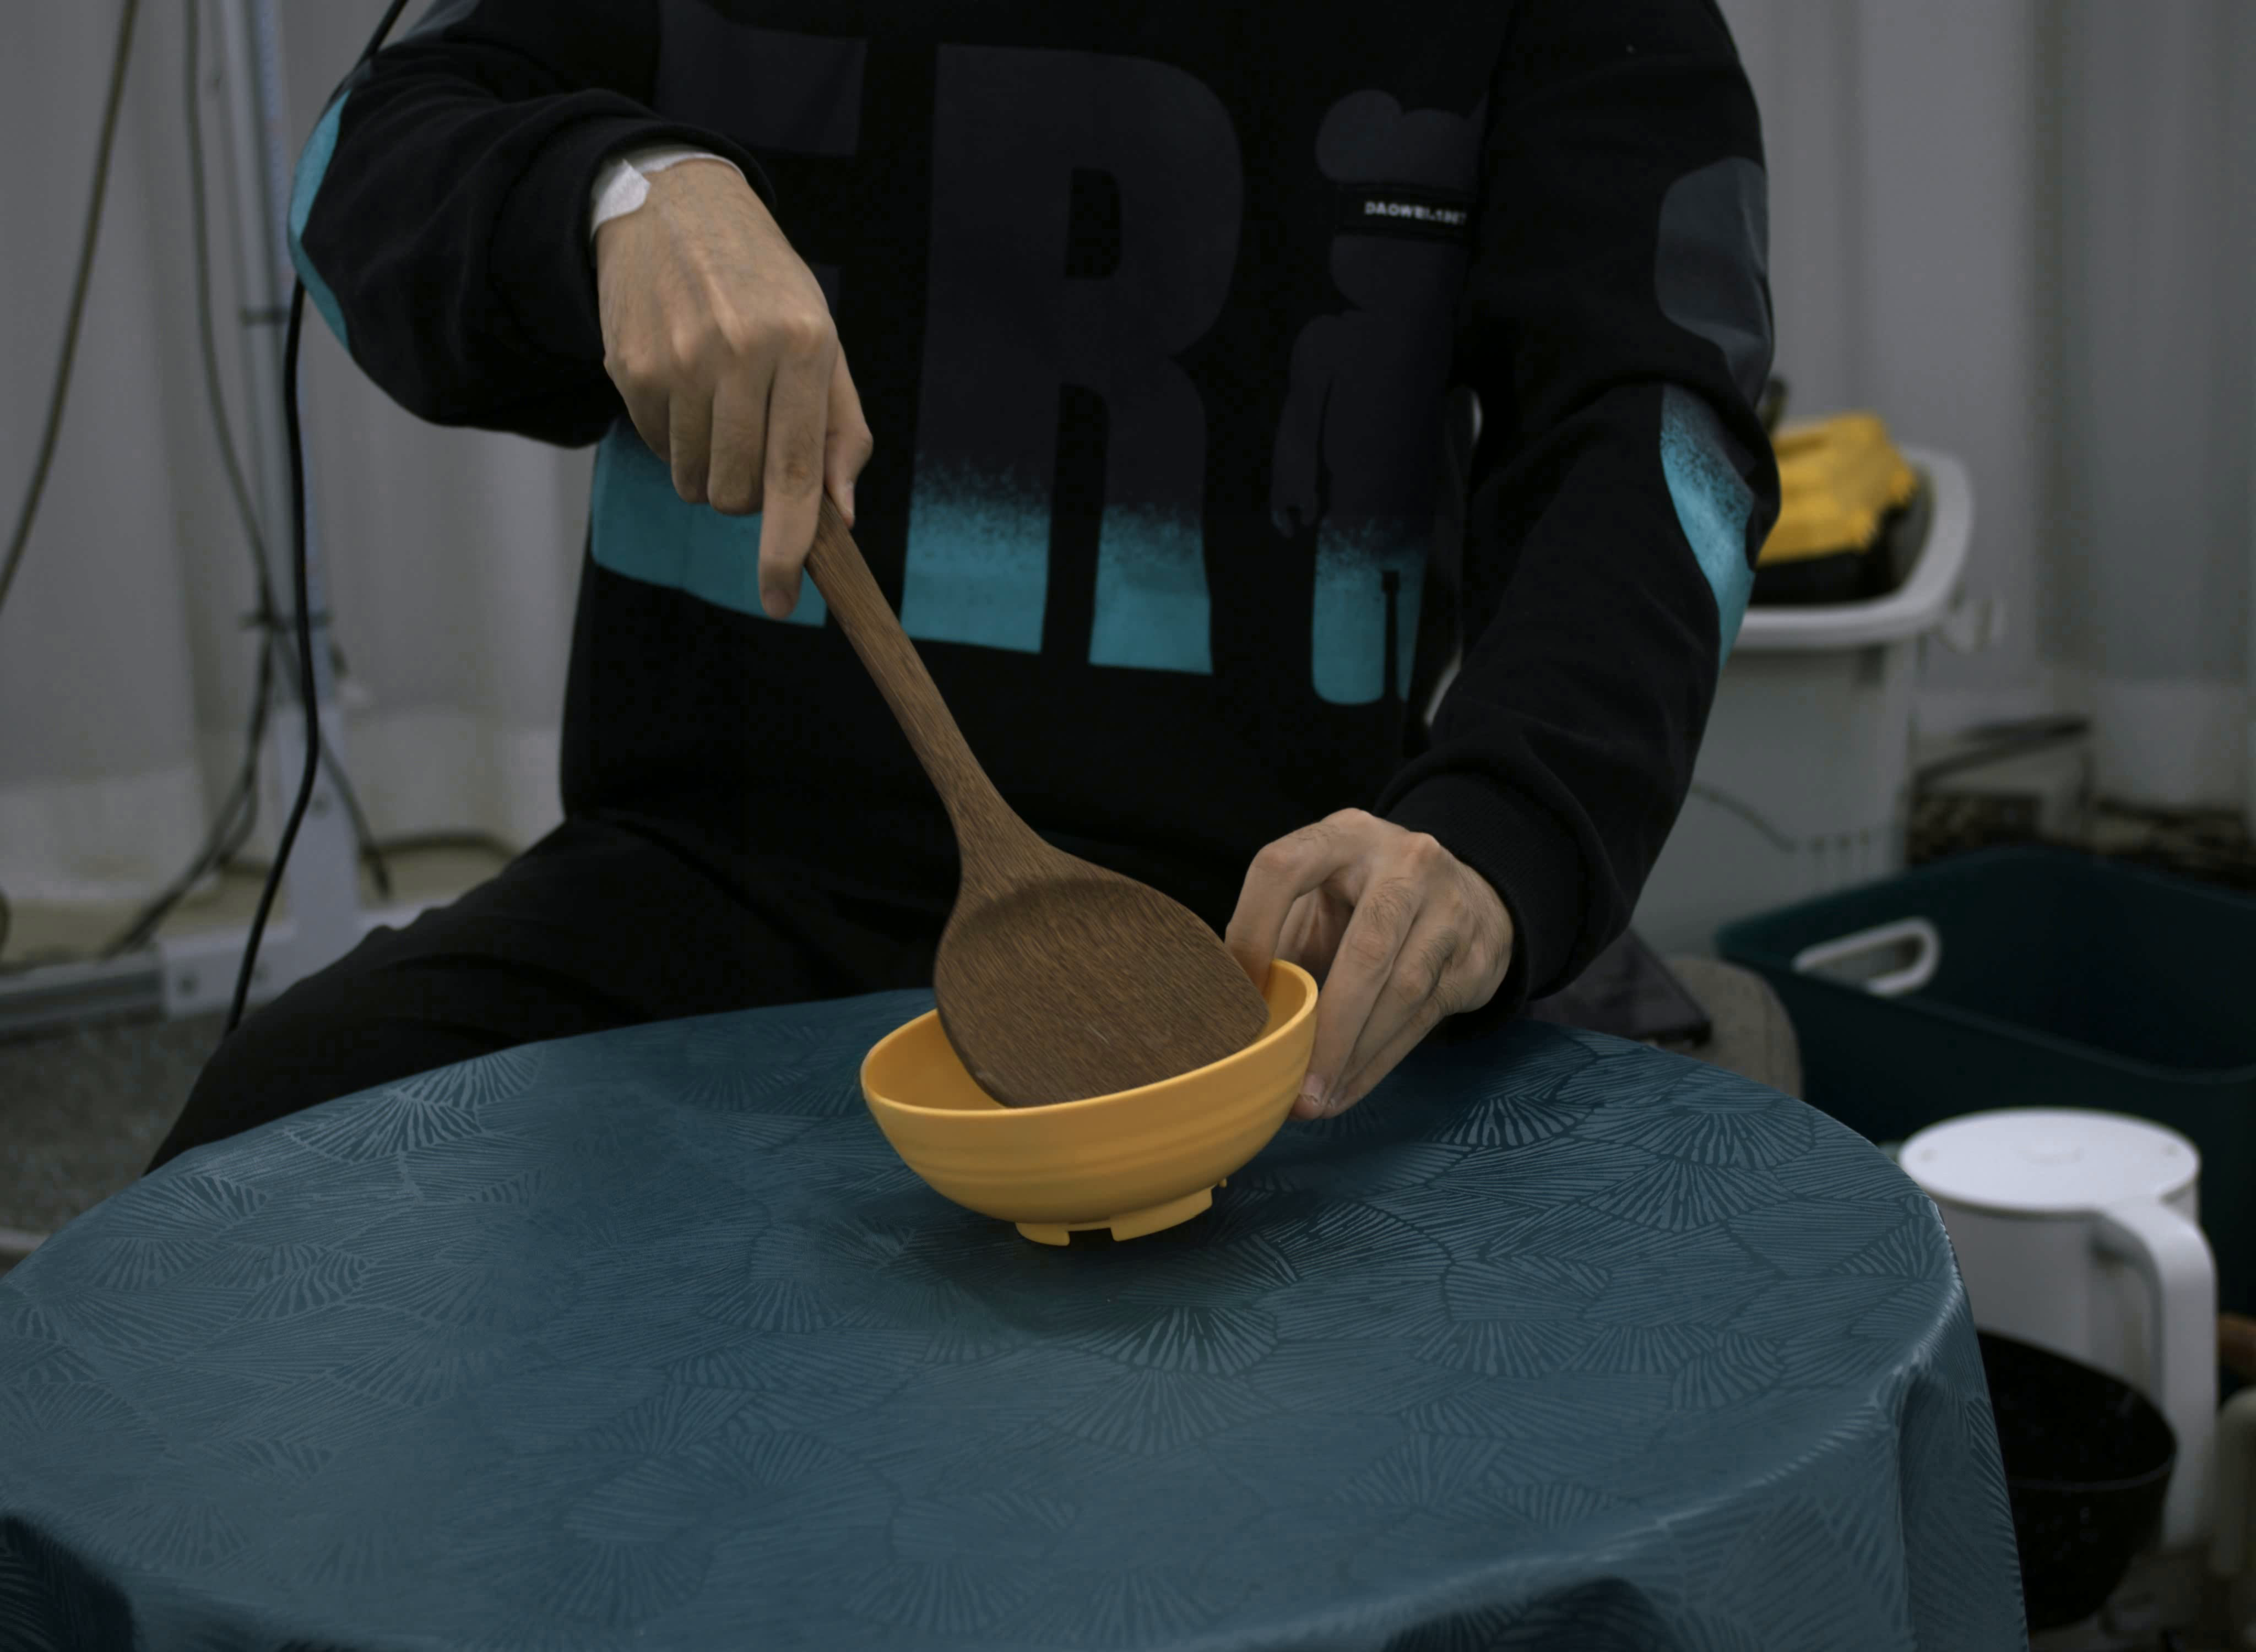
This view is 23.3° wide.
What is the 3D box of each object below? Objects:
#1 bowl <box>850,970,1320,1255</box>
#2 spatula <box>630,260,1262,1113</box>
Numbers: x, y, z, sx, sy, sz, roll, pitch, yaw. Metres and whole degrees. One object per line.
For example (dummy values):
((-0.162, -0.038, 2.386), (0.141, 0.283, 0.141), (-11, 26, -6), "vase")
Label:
((-0.010, 0.092, 1.677), (0.145, 0.060, 0.146), (-8, 14, 2), "bowl")
((-0.077, -0.055, 1.740), (0.096, 0.015, 0.391), (-17, 53, -20), "spatula")
